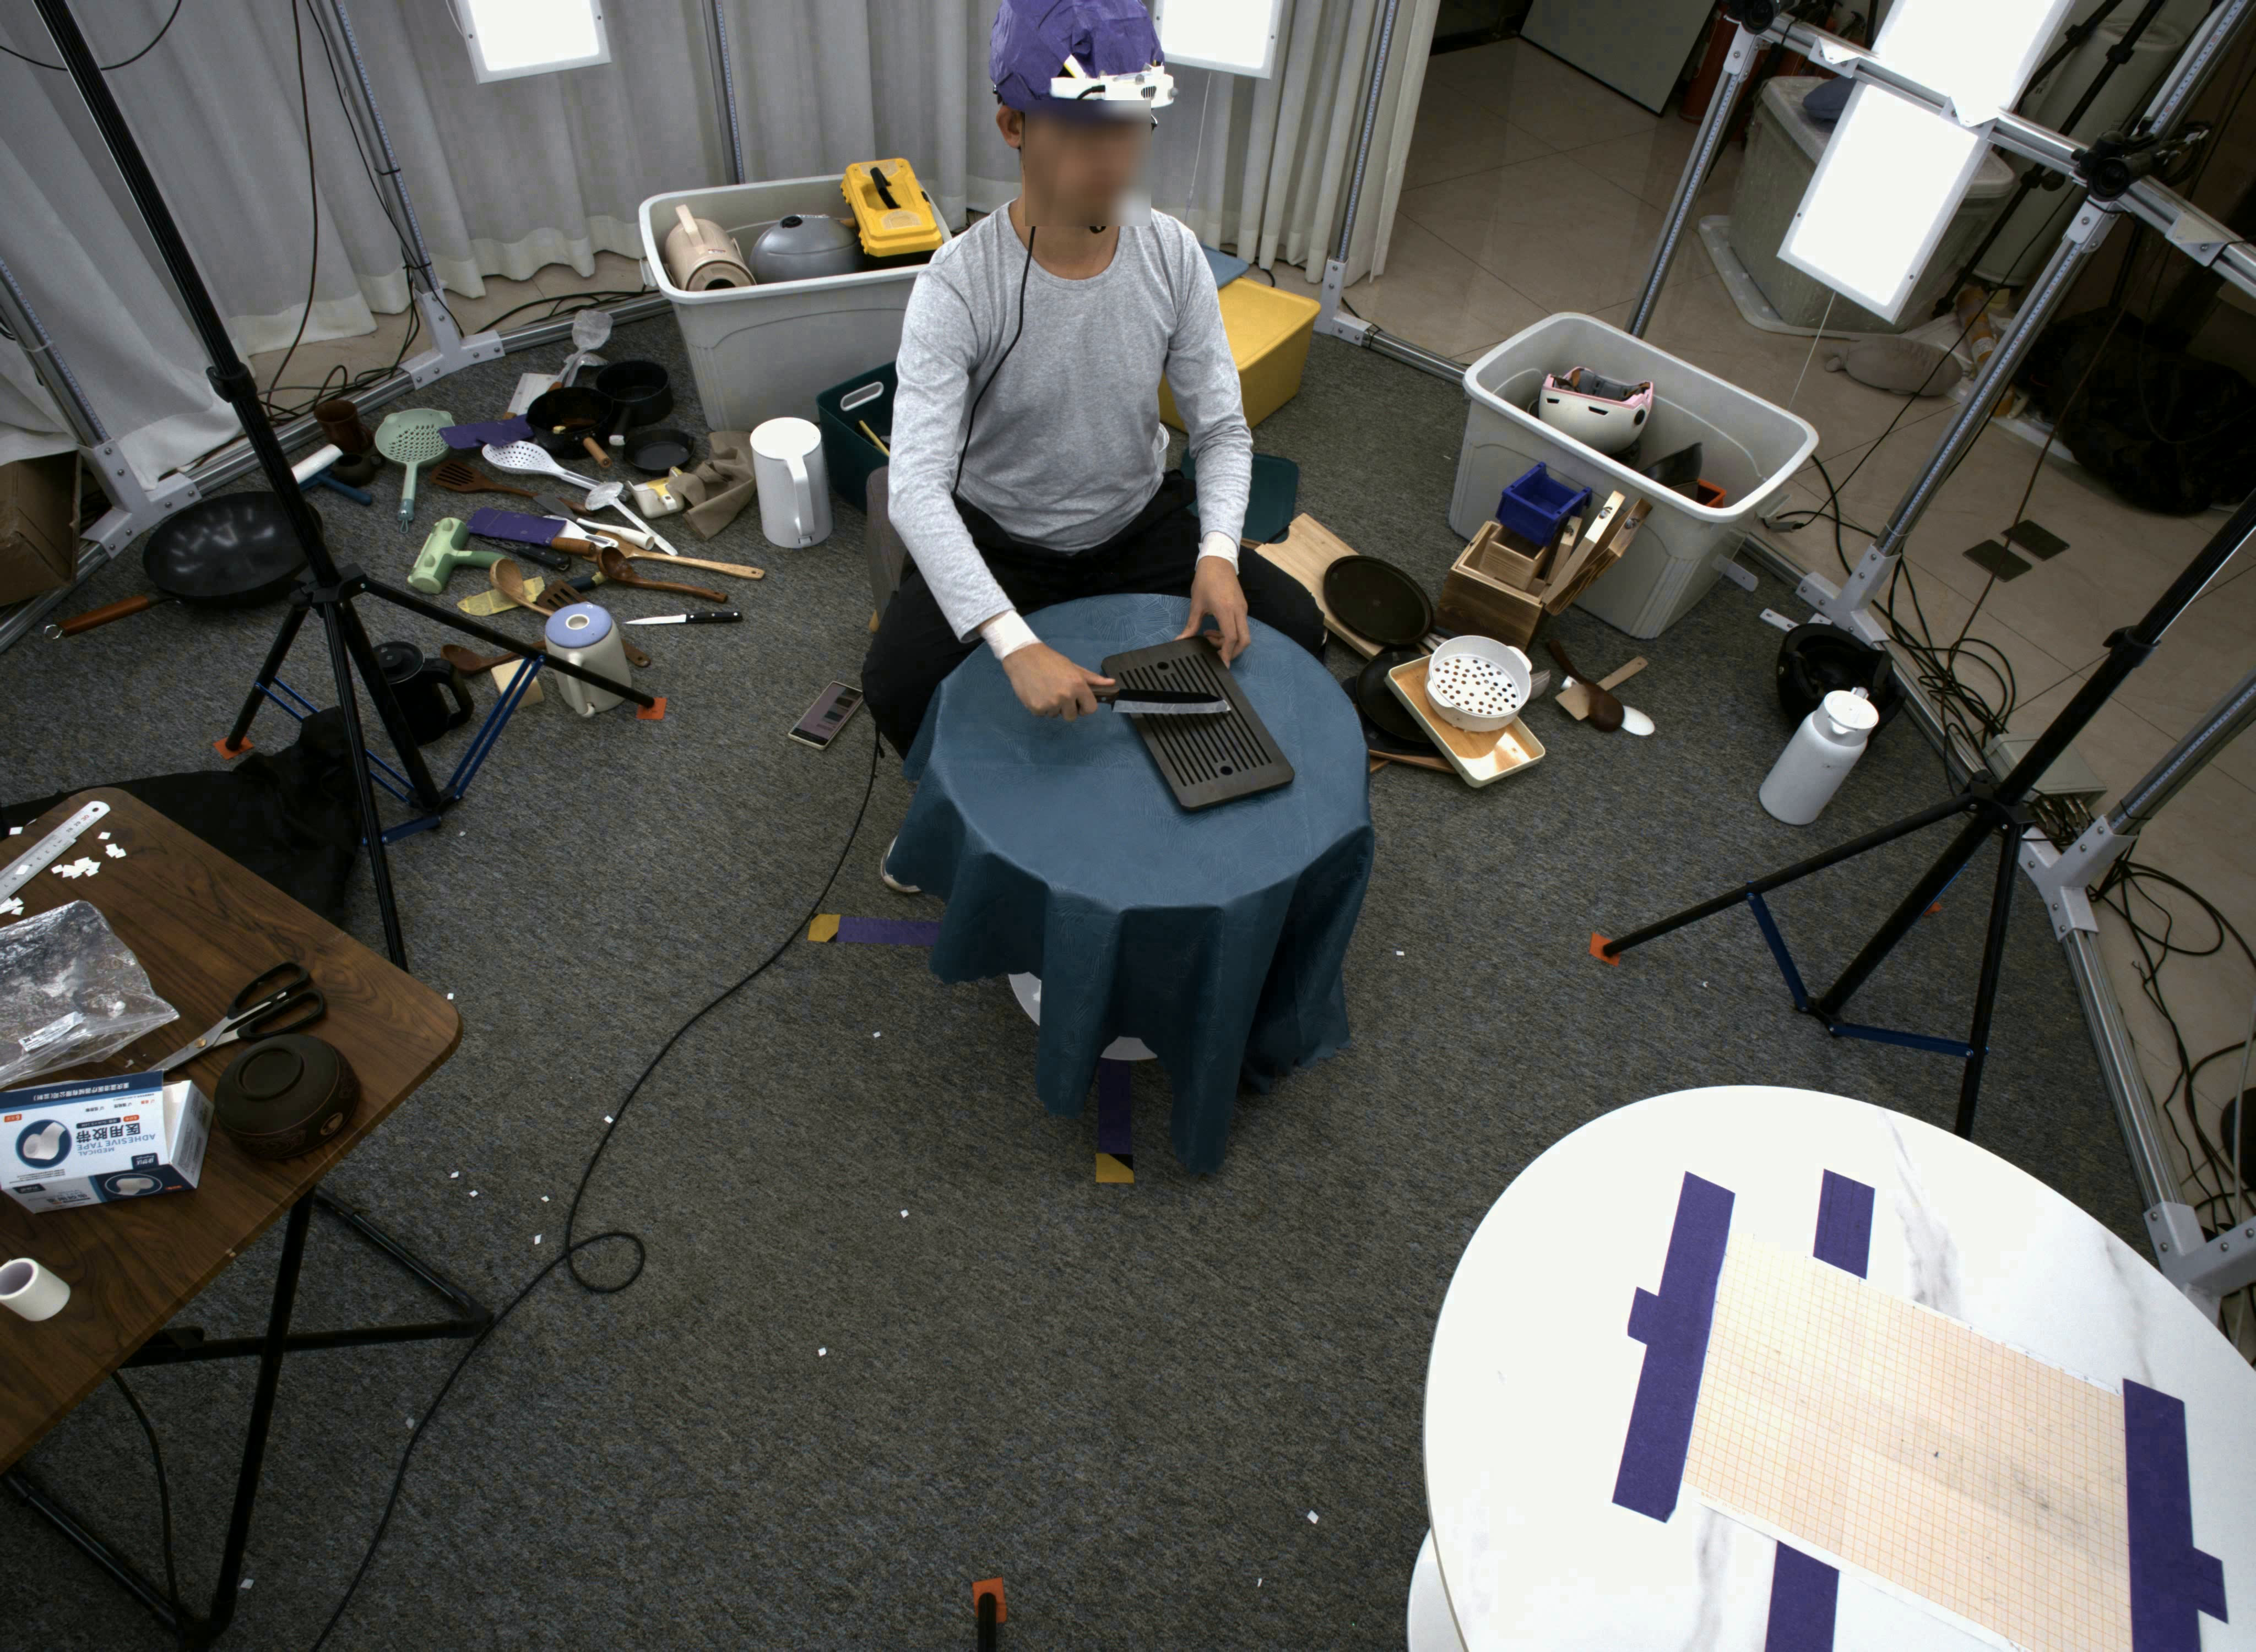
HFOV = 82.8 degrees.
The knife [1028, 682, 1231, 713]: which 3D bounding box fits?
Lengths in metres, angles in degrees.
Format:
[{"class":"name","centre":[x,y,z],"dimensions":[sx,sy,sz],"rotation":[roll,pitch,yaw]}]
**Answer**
[{"class":"knife","centre":[0.005,-0.174,1.754],"dimensions":[0.288,0.049,0.020],"rotation":[3,50,-14]}]

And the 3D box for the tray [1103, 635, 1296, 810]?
[{"class":"tray","centre":[0.095,-0.149,1.792],"dimensions":[0.170,0.018,0.313],"rotation":[-15,51,-16]}]
